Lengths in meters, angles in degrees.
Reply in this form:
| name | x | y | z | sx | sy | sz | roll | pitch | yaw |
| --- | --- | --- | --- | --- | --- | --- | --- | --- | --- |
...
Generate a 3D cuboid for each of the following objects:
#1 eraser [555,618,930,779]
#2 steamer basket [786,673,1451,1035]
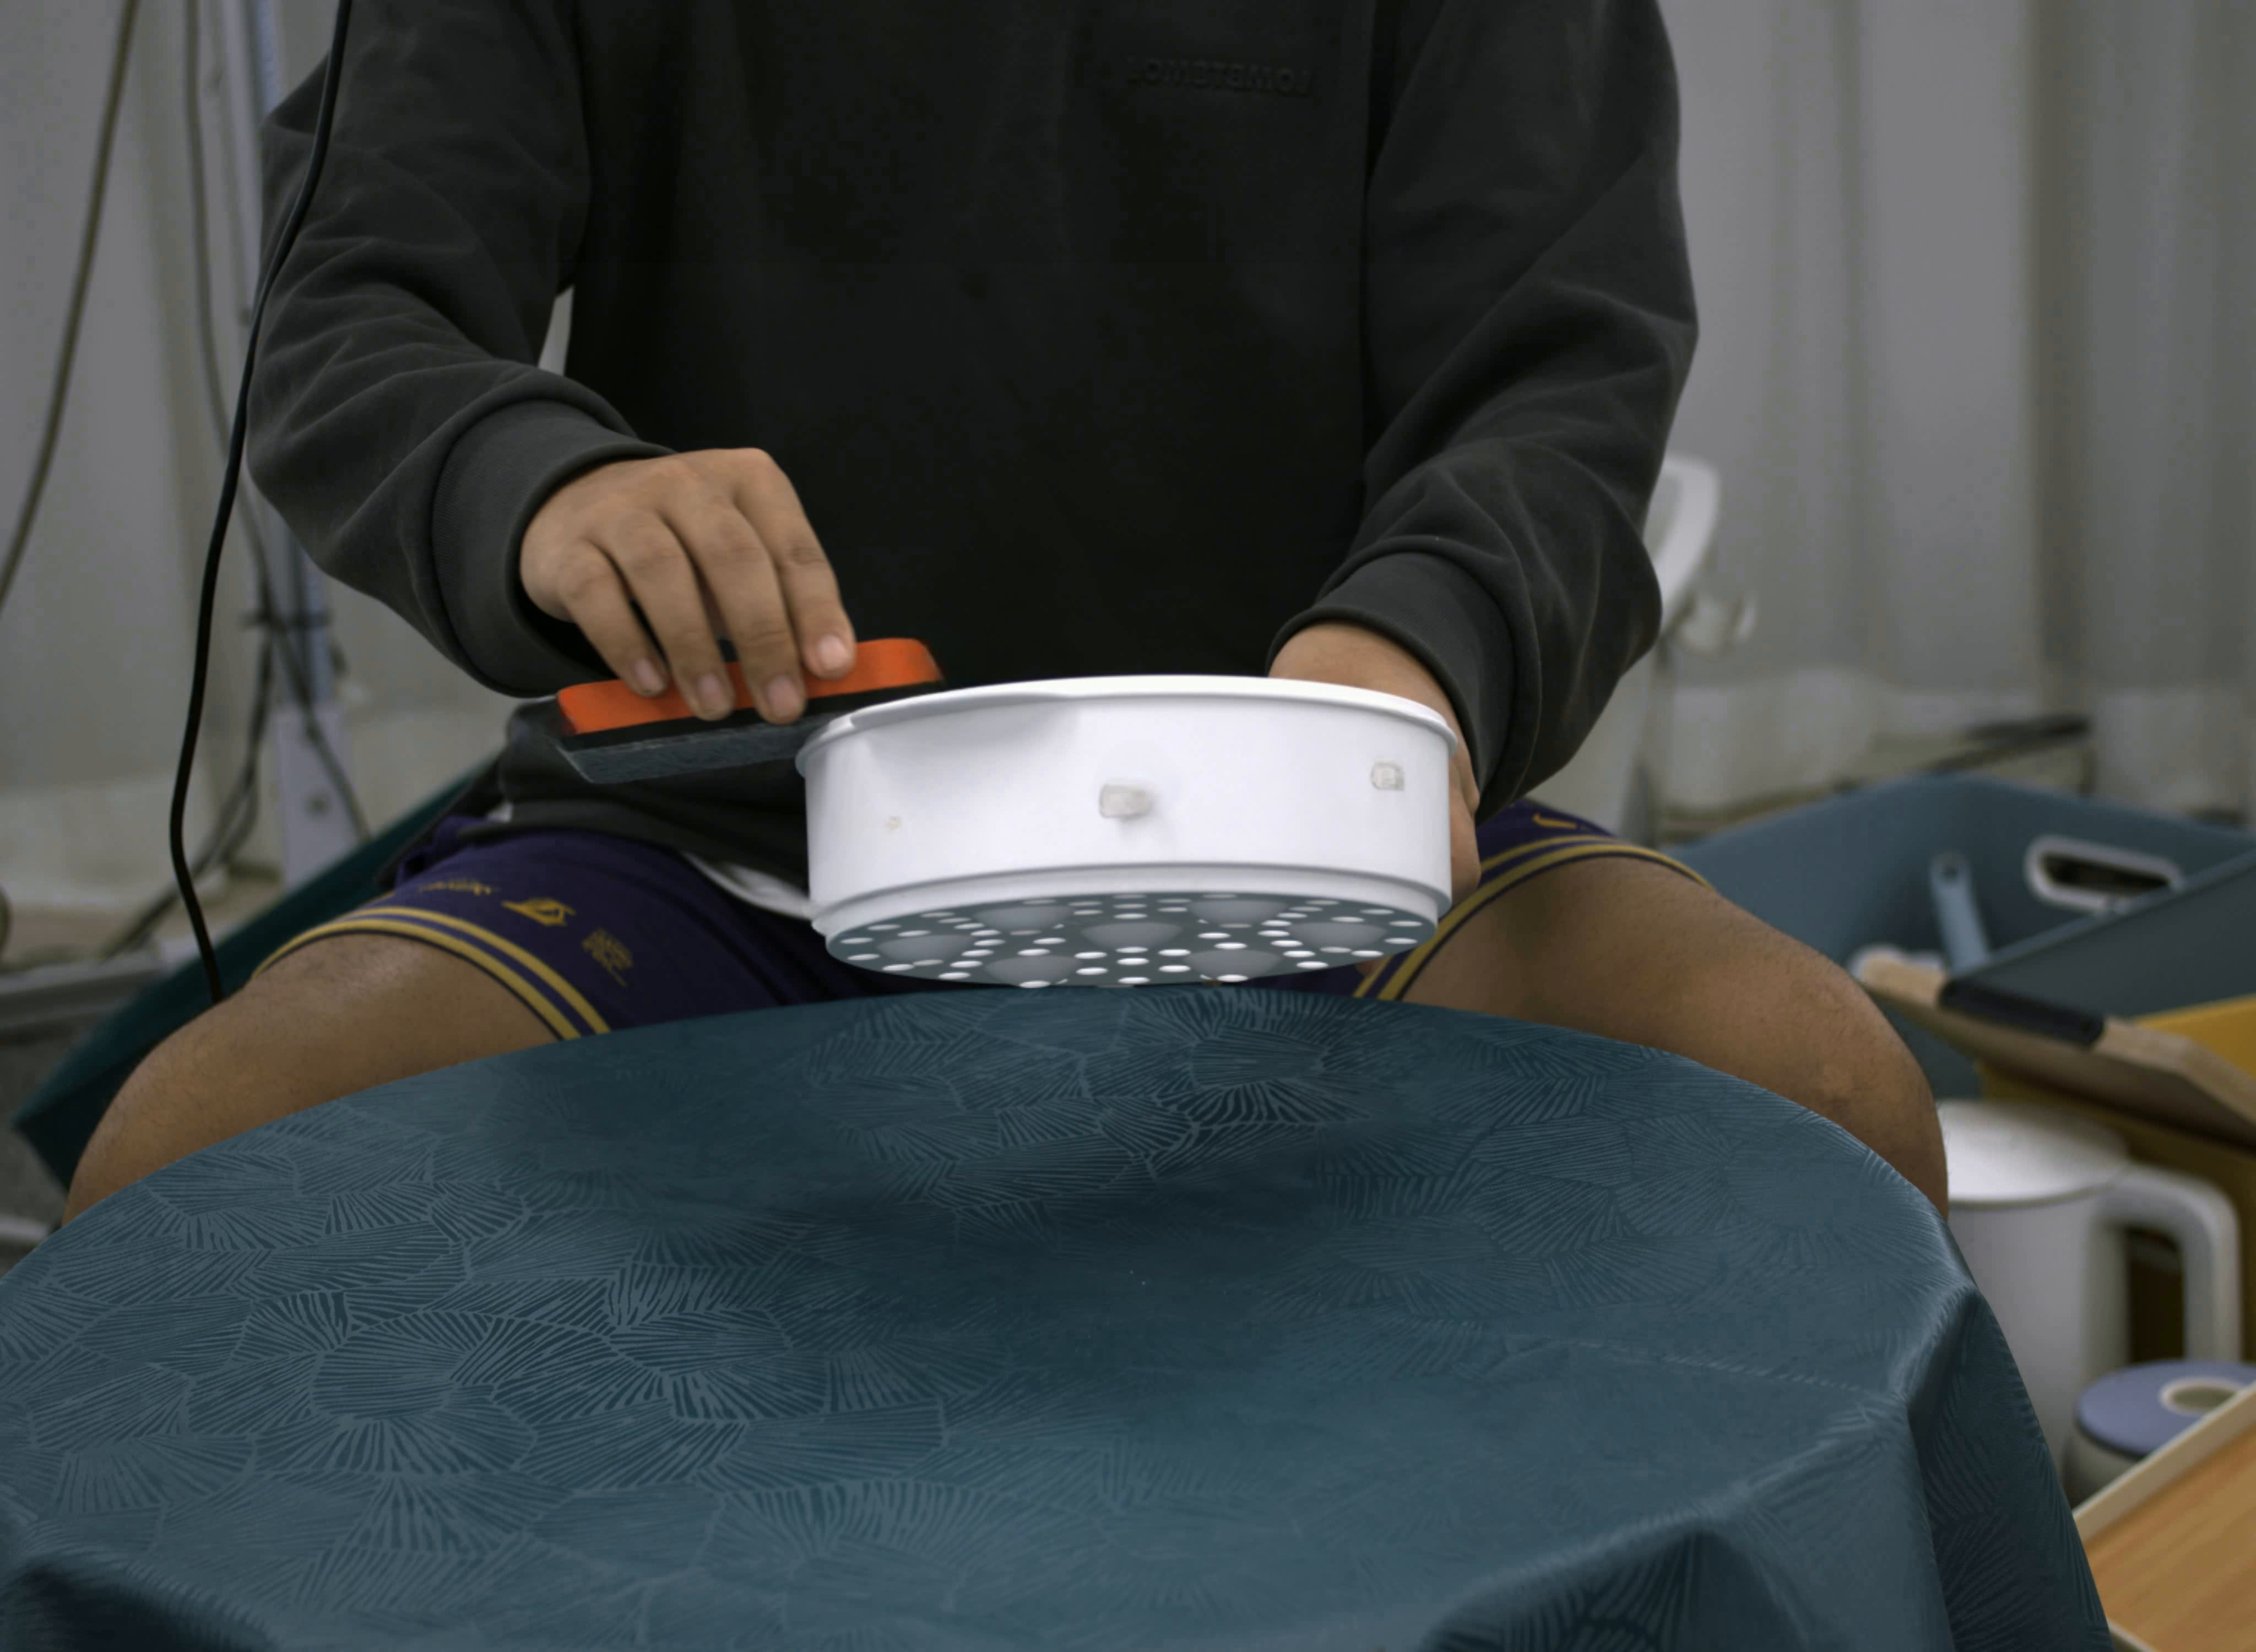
| name | x | y | z | sx | sy | sz | roll | pitch | yaw |
| --- | --- | --- | --- | --- | --- | --- | --- | --- | --- |
| eraser | -0.115 | -0.038 | 1.647 | 0.108 | 0.023 | 0.058 | -9 | -14 | 2 |
| steamer basket | -0.002 | 0.014 | 1.645 | 0.201 | 0.070 | 0.228 | -11 | -17 | 28 |
